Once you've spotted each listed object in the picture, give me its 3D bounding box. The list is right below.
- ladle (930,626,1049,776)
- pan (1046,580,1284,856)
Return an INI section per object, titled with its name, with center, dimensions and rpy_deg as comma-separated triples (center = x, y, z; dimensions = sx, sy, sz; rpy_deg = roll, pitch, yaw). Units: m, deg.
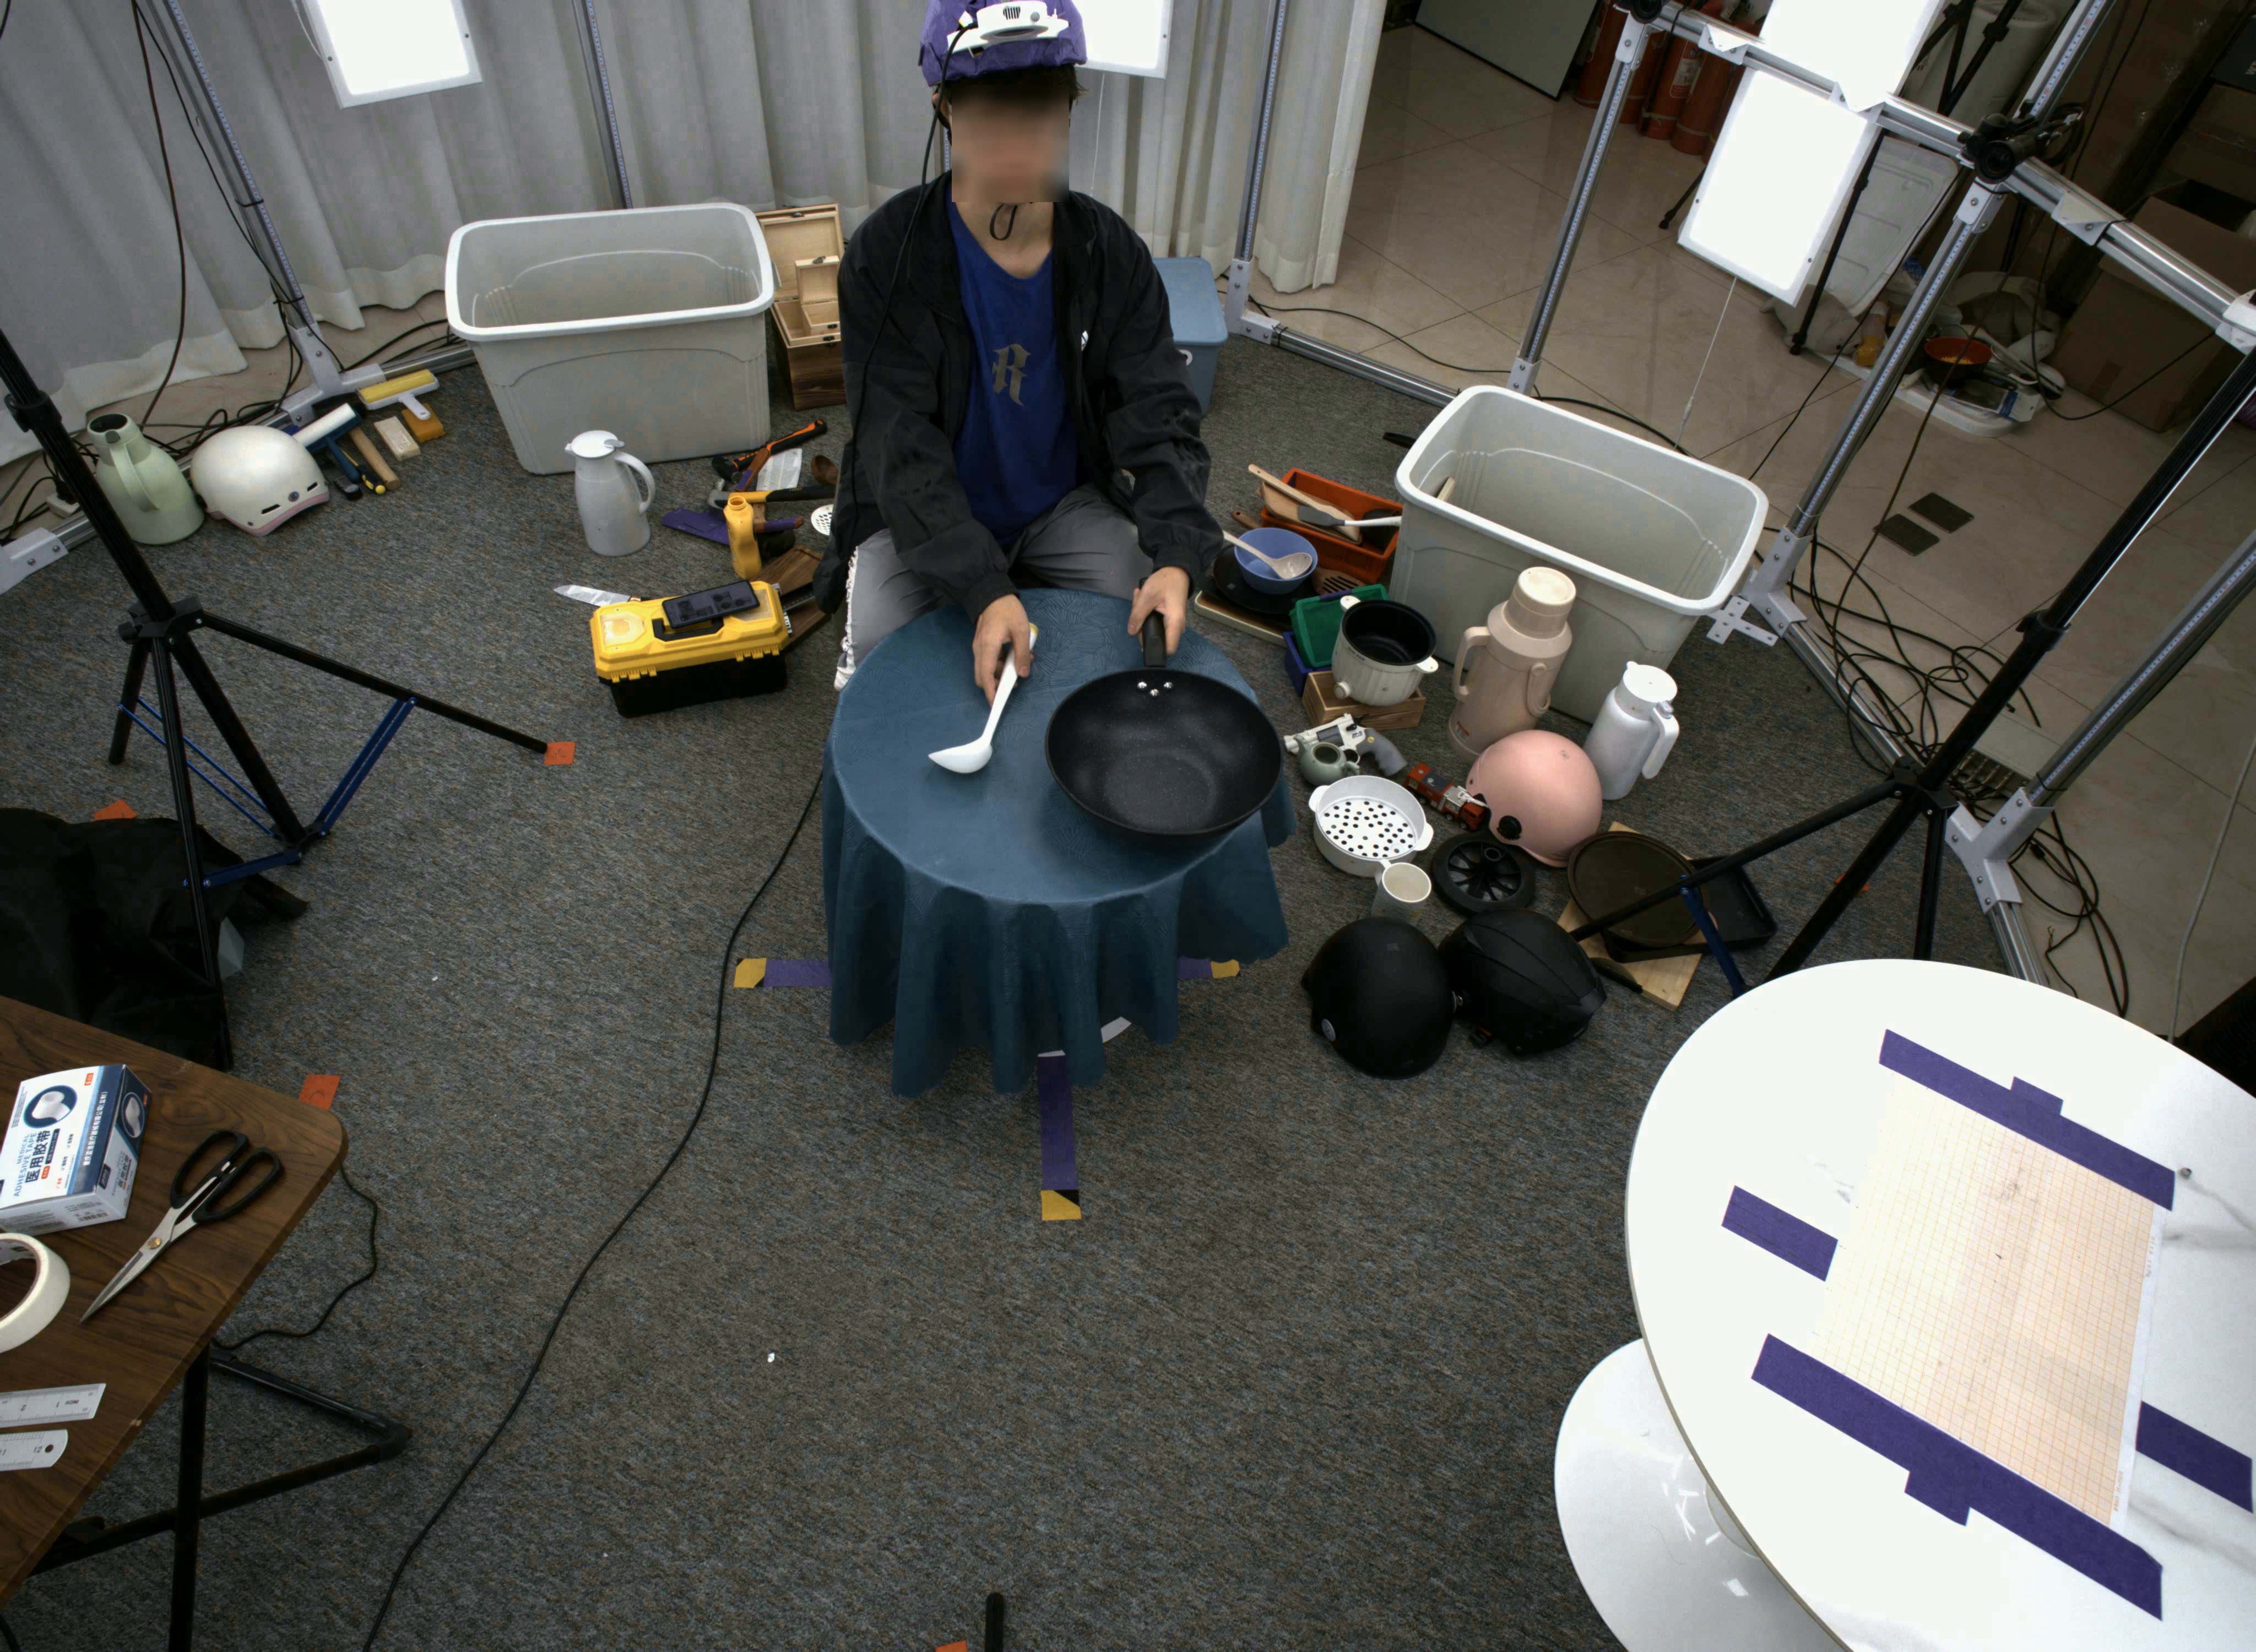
[ladle]
center = -0.183, -0.182, 1.779
dimensions = 0.090, 0.068, 0.299
rpy_deg = -15, 41, 39
[pan]
center = 0.041, -0.140, 1.730
dimensions = 0.310, 0.109, 0.489
rpy_deg = 1, 48, -6
